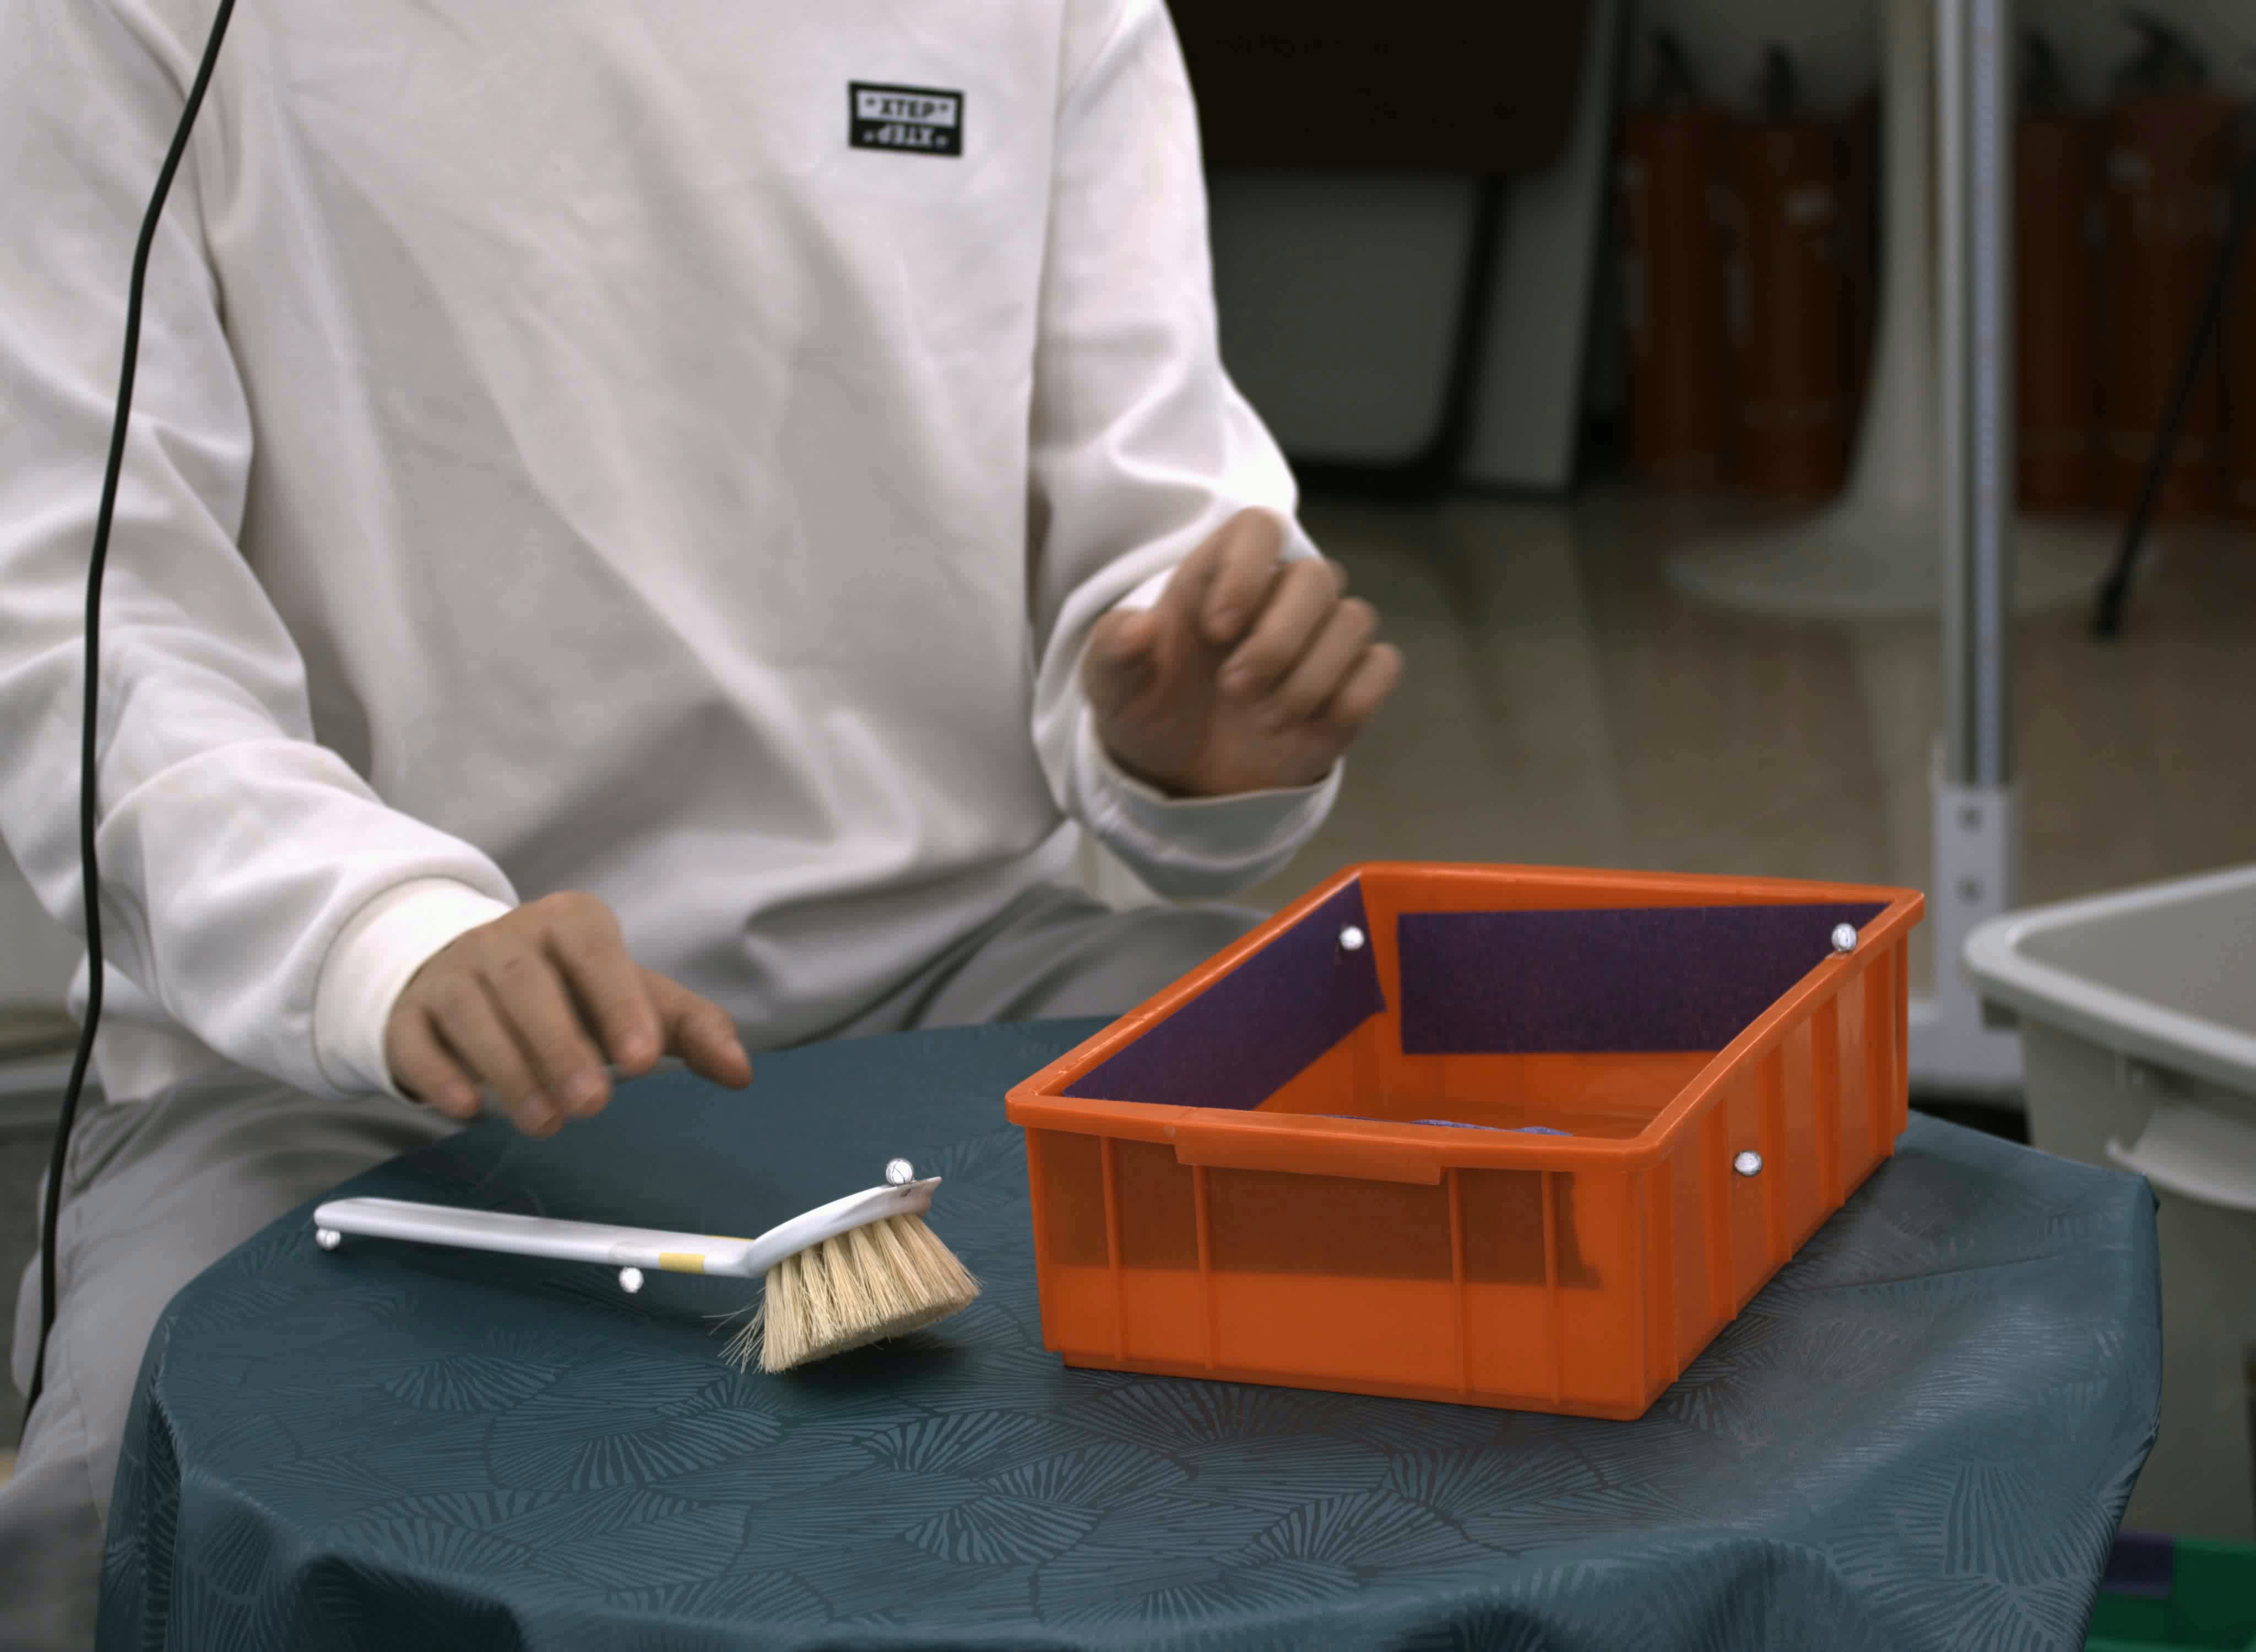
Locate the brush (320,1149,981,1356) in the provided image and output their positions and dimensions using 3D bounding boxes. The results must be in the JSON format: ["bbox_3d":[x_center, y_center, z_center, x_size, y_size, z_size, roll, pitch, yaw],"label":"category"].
[{"bbox_3d":[-0.154,0.144,1.690,0.268,0.057,0.067,-12,-10,39],"label":"brush"}]

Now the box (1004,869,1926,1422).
[{"bbox_3d":[0.113,0.094,1.674,0.207,0.097,0.299,2,12,26],"label":"box"}]
